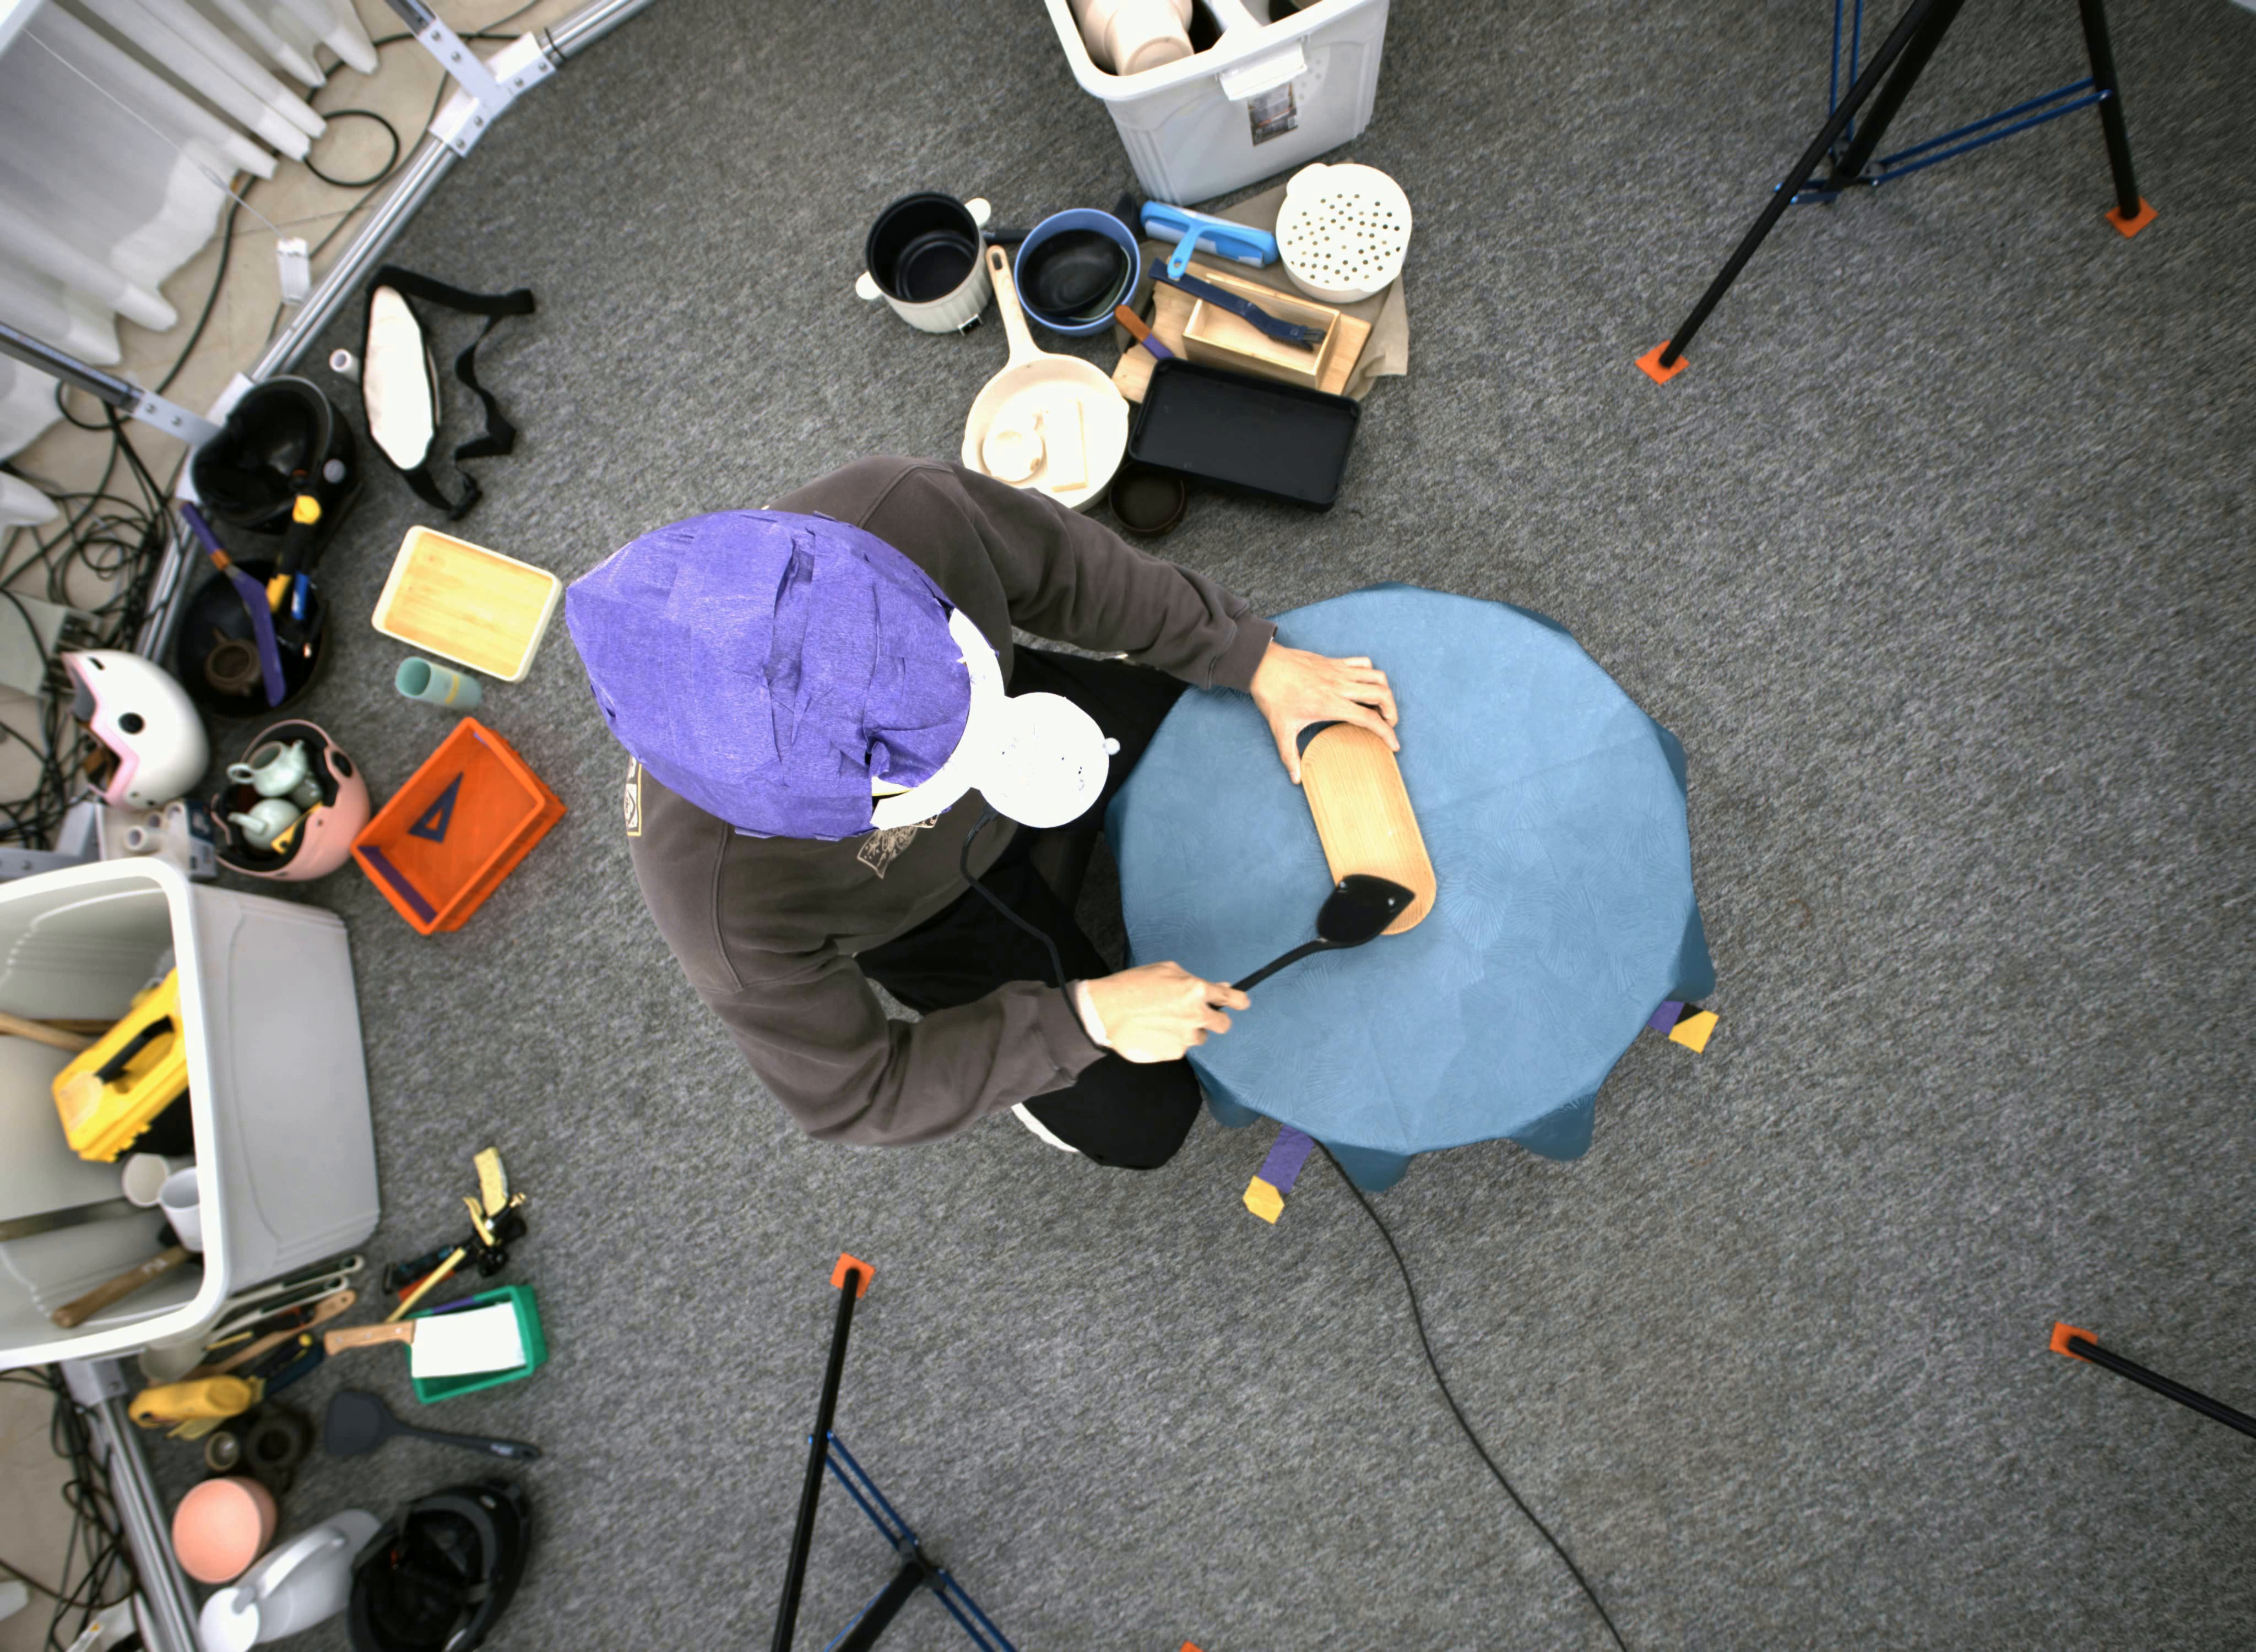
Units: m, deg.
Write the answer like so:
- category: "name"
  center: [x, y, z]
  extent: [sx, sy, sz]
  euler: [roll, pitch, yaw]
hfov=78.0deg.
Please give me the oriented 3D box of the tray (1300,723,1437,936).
- category: "tray"
  center: [0.253, 0.002, 1.456]
  extent: [0.102, 0.020, 0.230]
  euler: [-19, 85, 10]

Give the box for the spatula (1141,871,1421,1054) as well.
- category: "spatula"
  center: [0.142, 0.132, 1.341]
  extent: [0.322, 0.099, 0.041]
  euler: [-26, 115, -25]
